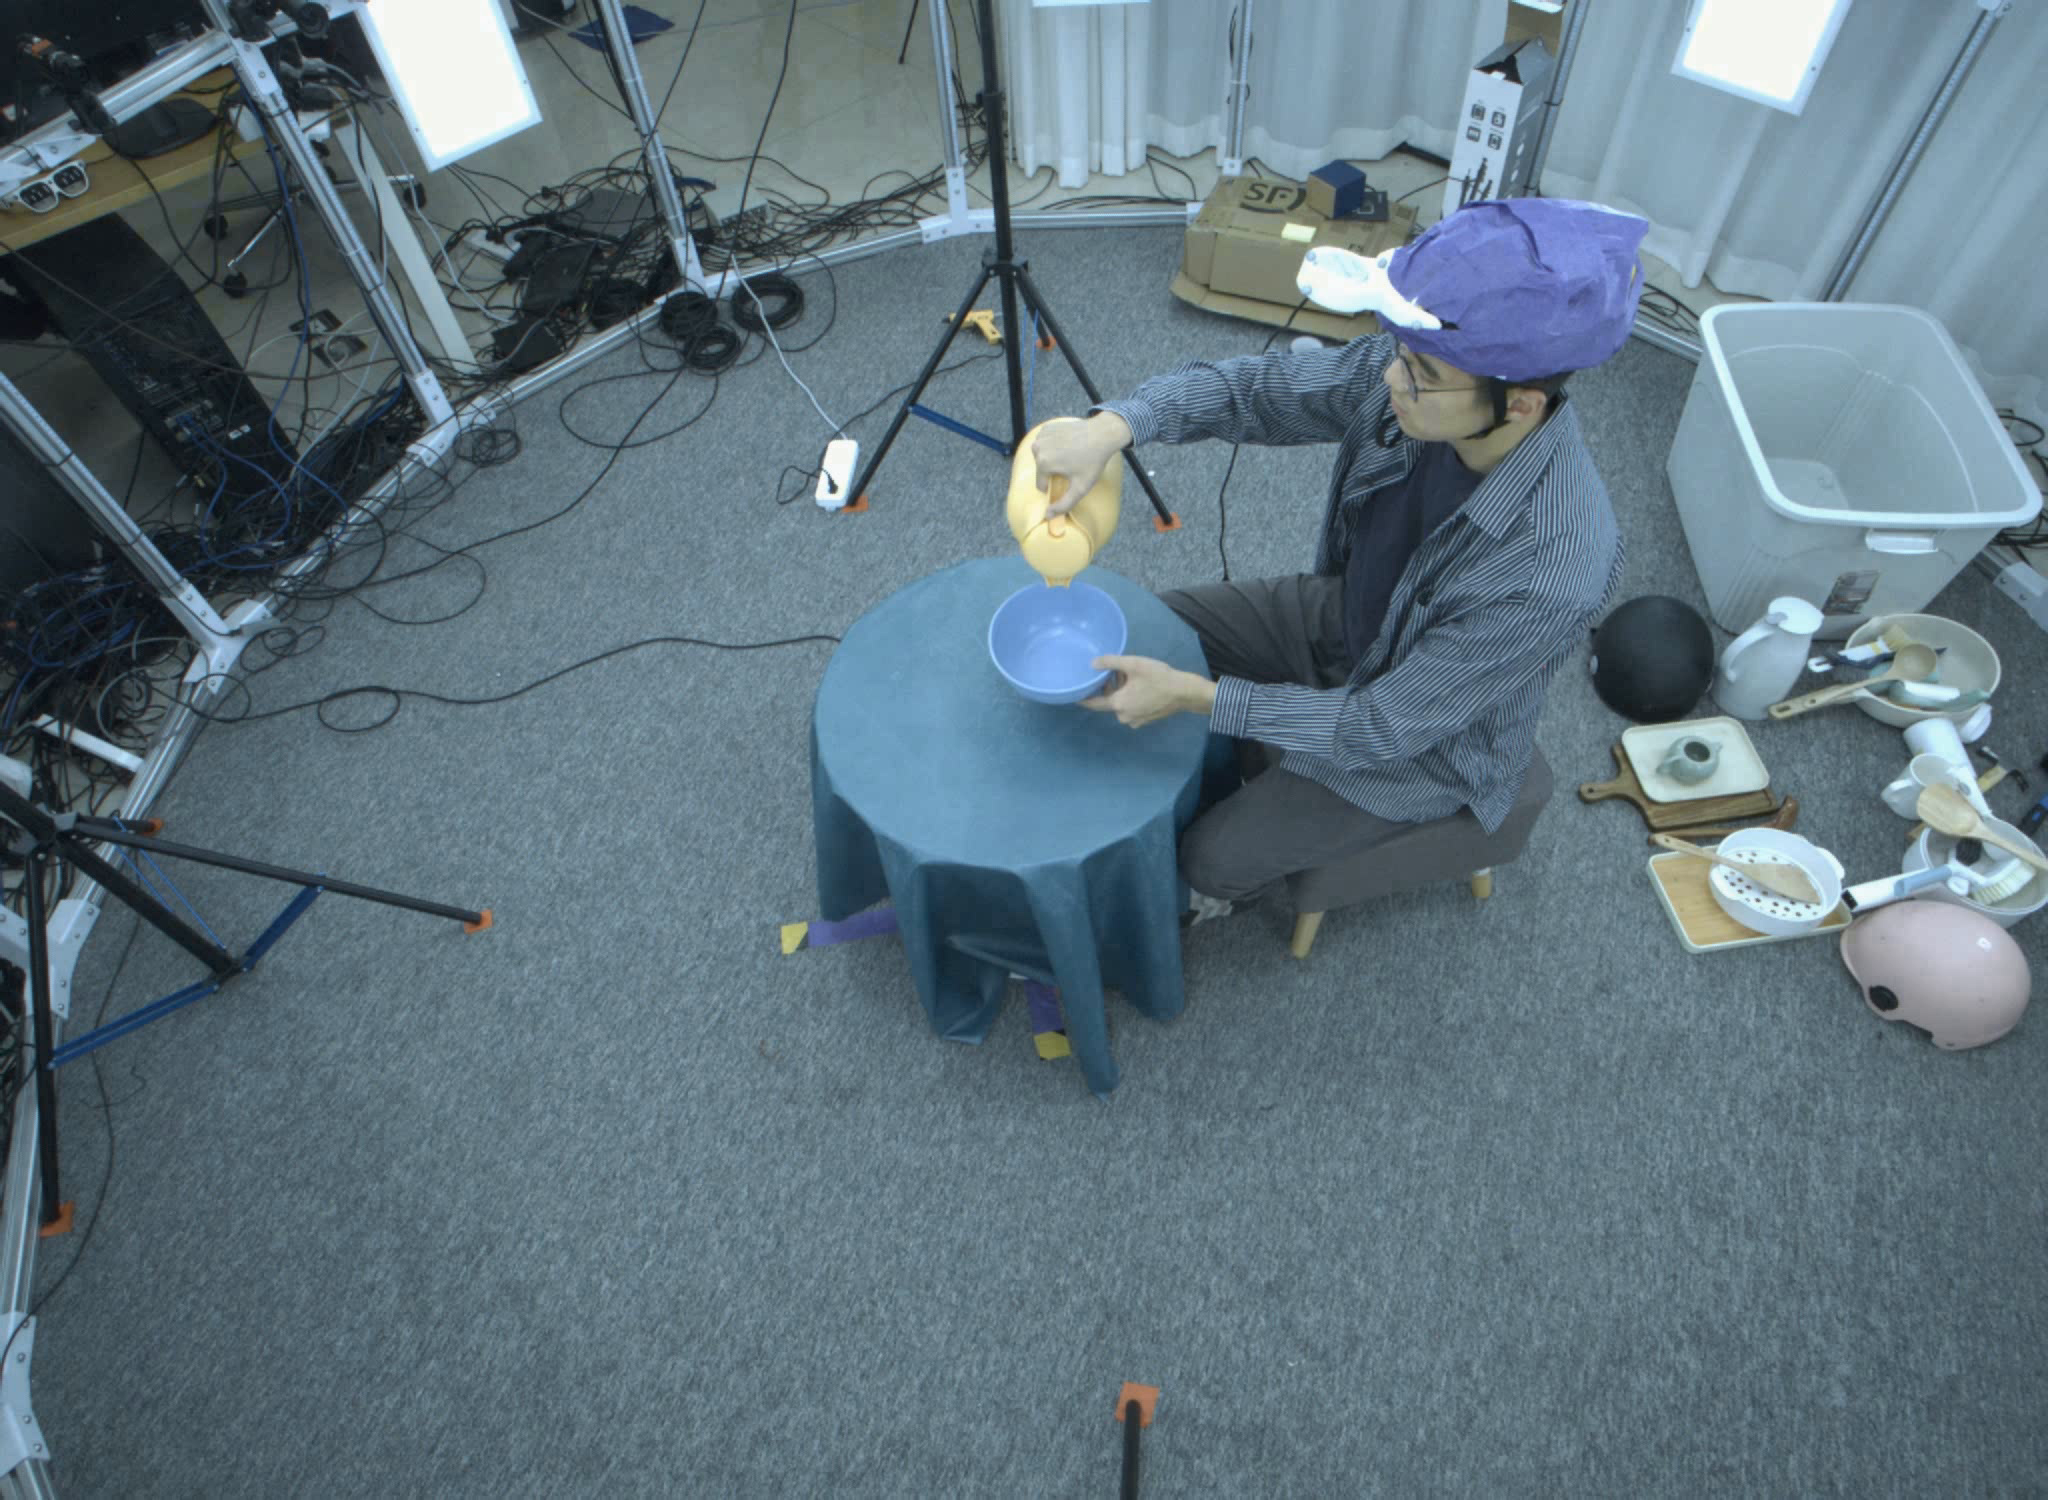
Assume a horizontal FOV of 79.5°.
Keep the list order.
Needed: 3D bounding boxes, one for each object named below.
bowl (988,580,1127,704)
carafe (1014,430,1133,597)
[{"bbox_3d":[0.051,-0.141,1.772,0.196,0.096,0.194,-2,61,4],"label":"bowl"},{"bbox_3d":[0.067,-0.353,1.732,0.163,0.204,0.258,4,43,5],"label":"carafe"}]
